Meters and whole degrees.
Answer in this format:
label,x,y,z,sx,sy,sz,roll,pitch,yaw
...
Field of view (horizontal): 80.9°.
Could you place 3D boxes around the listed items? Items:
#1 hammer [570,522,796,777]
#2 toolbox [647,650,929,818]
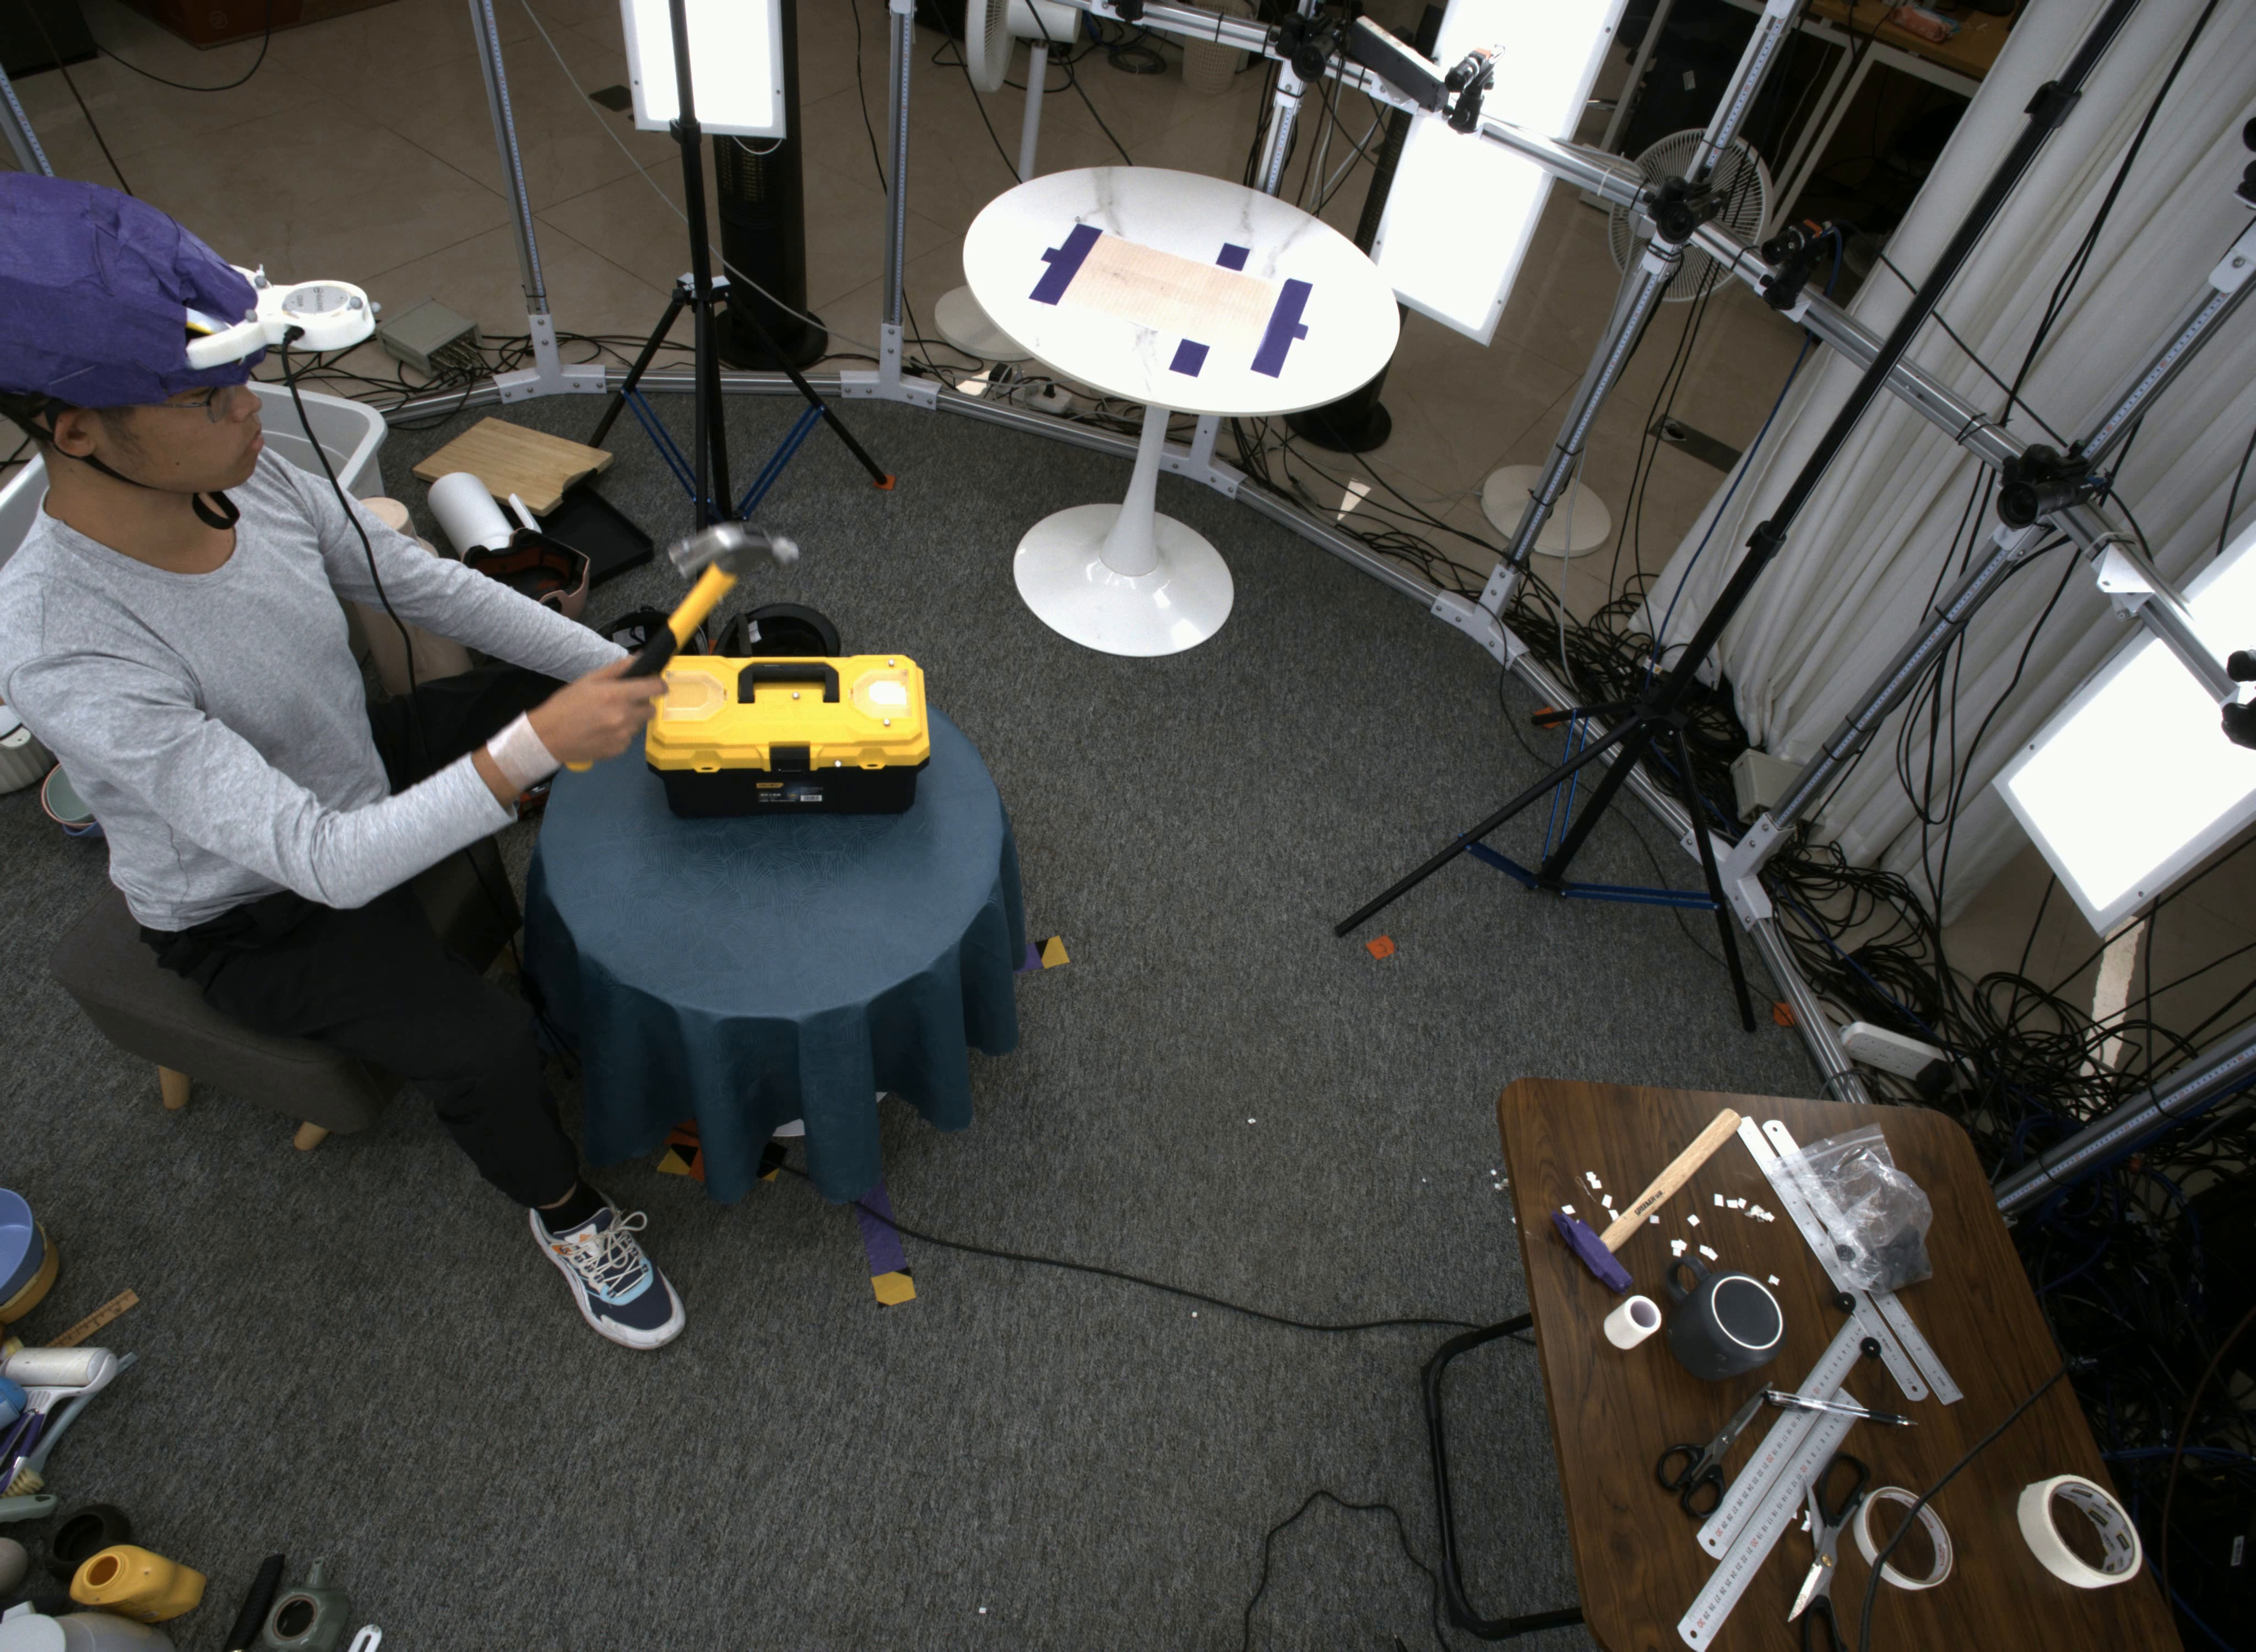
label,x,y,z,sx,sy,sz,roll,pitch,yaw
hammer,-0.480,-0.176,1.306,0.032,0.338,0.133,50,20,13
toolbox,-0.441,-0.117,1.696,0.352,0.176,0.177,-2,54,-14
